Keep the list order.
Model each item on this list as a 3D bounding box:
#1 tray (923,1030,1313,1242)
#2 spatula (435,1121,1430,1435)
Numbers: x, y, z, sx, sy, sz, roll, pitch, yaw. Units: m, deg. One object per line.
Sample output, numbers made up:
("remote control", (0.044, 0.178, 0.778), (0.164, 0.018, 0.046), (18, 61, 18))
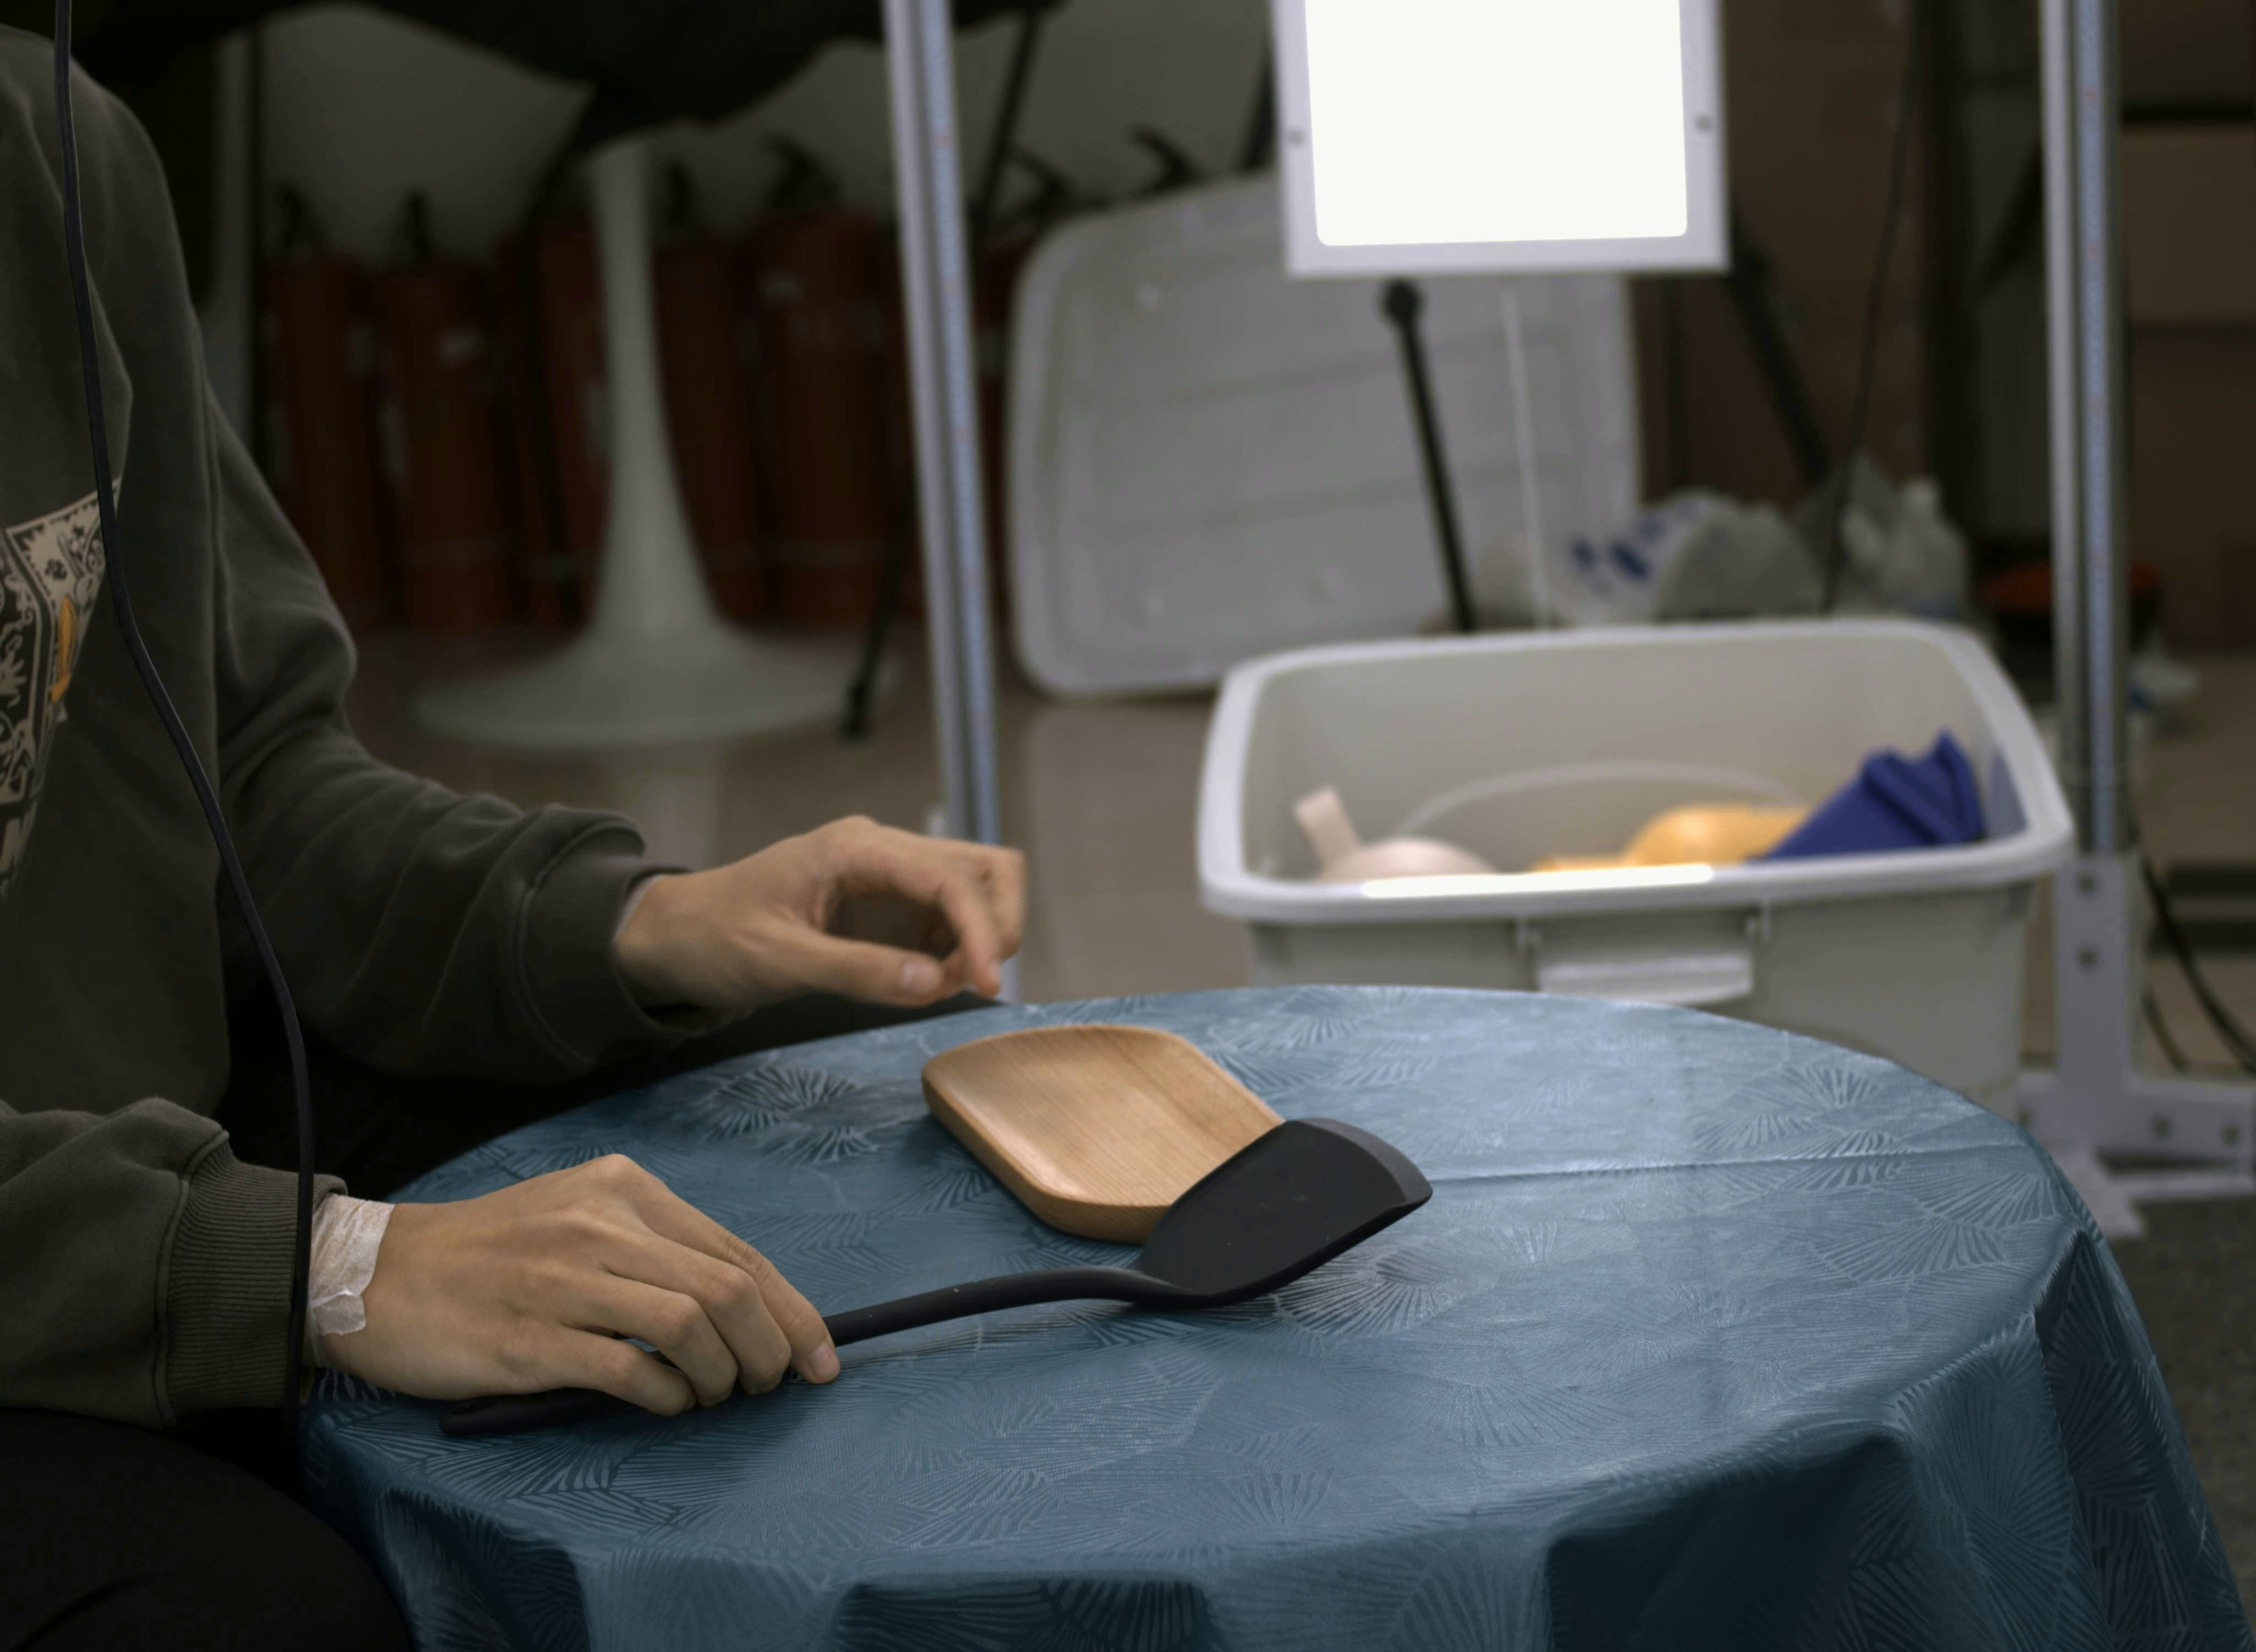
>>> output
("tray", (-0.004, 0.108, 1.941), (0.100, 0.020, 0.233), (-10, 15, -15))
("spatula", (-0.064, 0.148, 1.756), (0.321, 0.040, 0.101), (-9, 15, -17))
